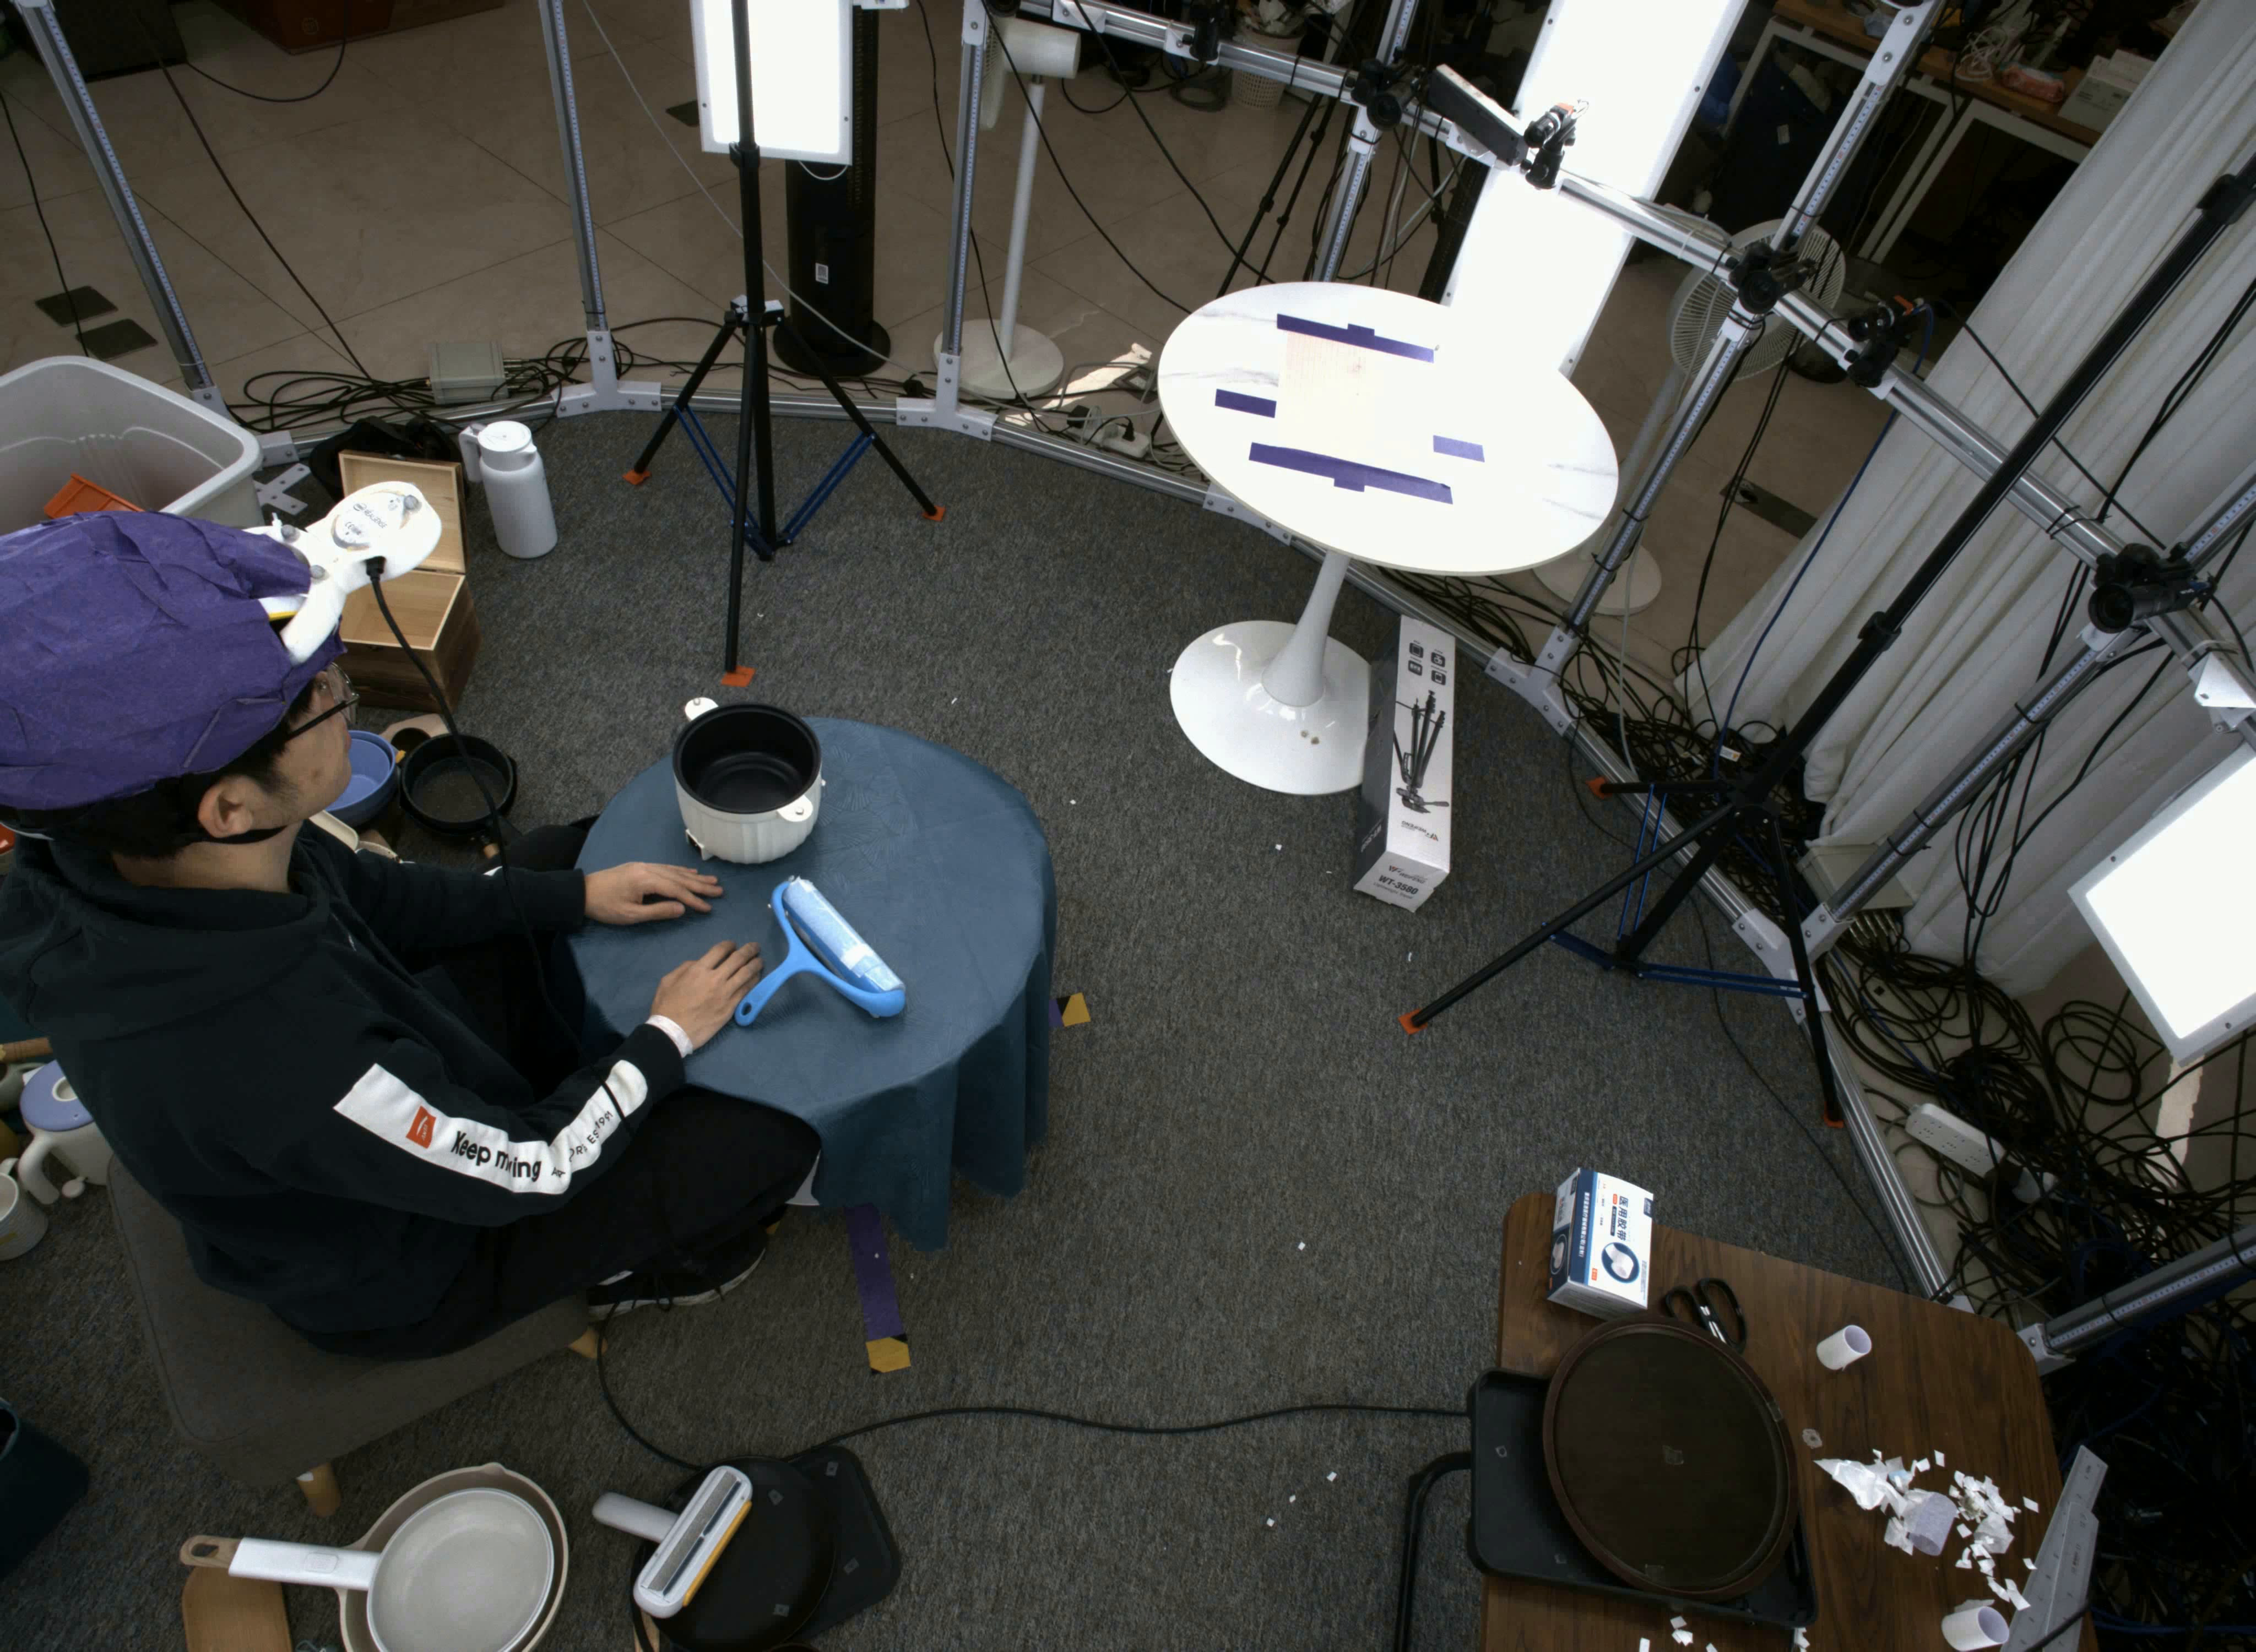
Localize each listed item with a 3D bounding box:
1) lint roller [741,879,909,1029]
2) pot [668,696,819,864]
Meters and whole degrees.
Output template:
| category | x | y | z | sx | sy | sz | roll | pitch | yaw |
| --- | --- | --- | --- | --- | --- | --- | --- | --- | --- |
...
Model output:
| category | x | y | z | sx | sy | sz | roll | pitch | yaw |
| --- | --- | --- | --- | --- | --- | --- | --- | --- | --- |
| lint roller | -0.392 | 0.175 | 1.573 | 0.225 | 0.069 | 0.180 | 41 | 54 | 14 |
| pot | -0.485 | -0.053 | 1.663 | 0.235 | 0.145 | 0.191 | 42 | 59 | 16 |
